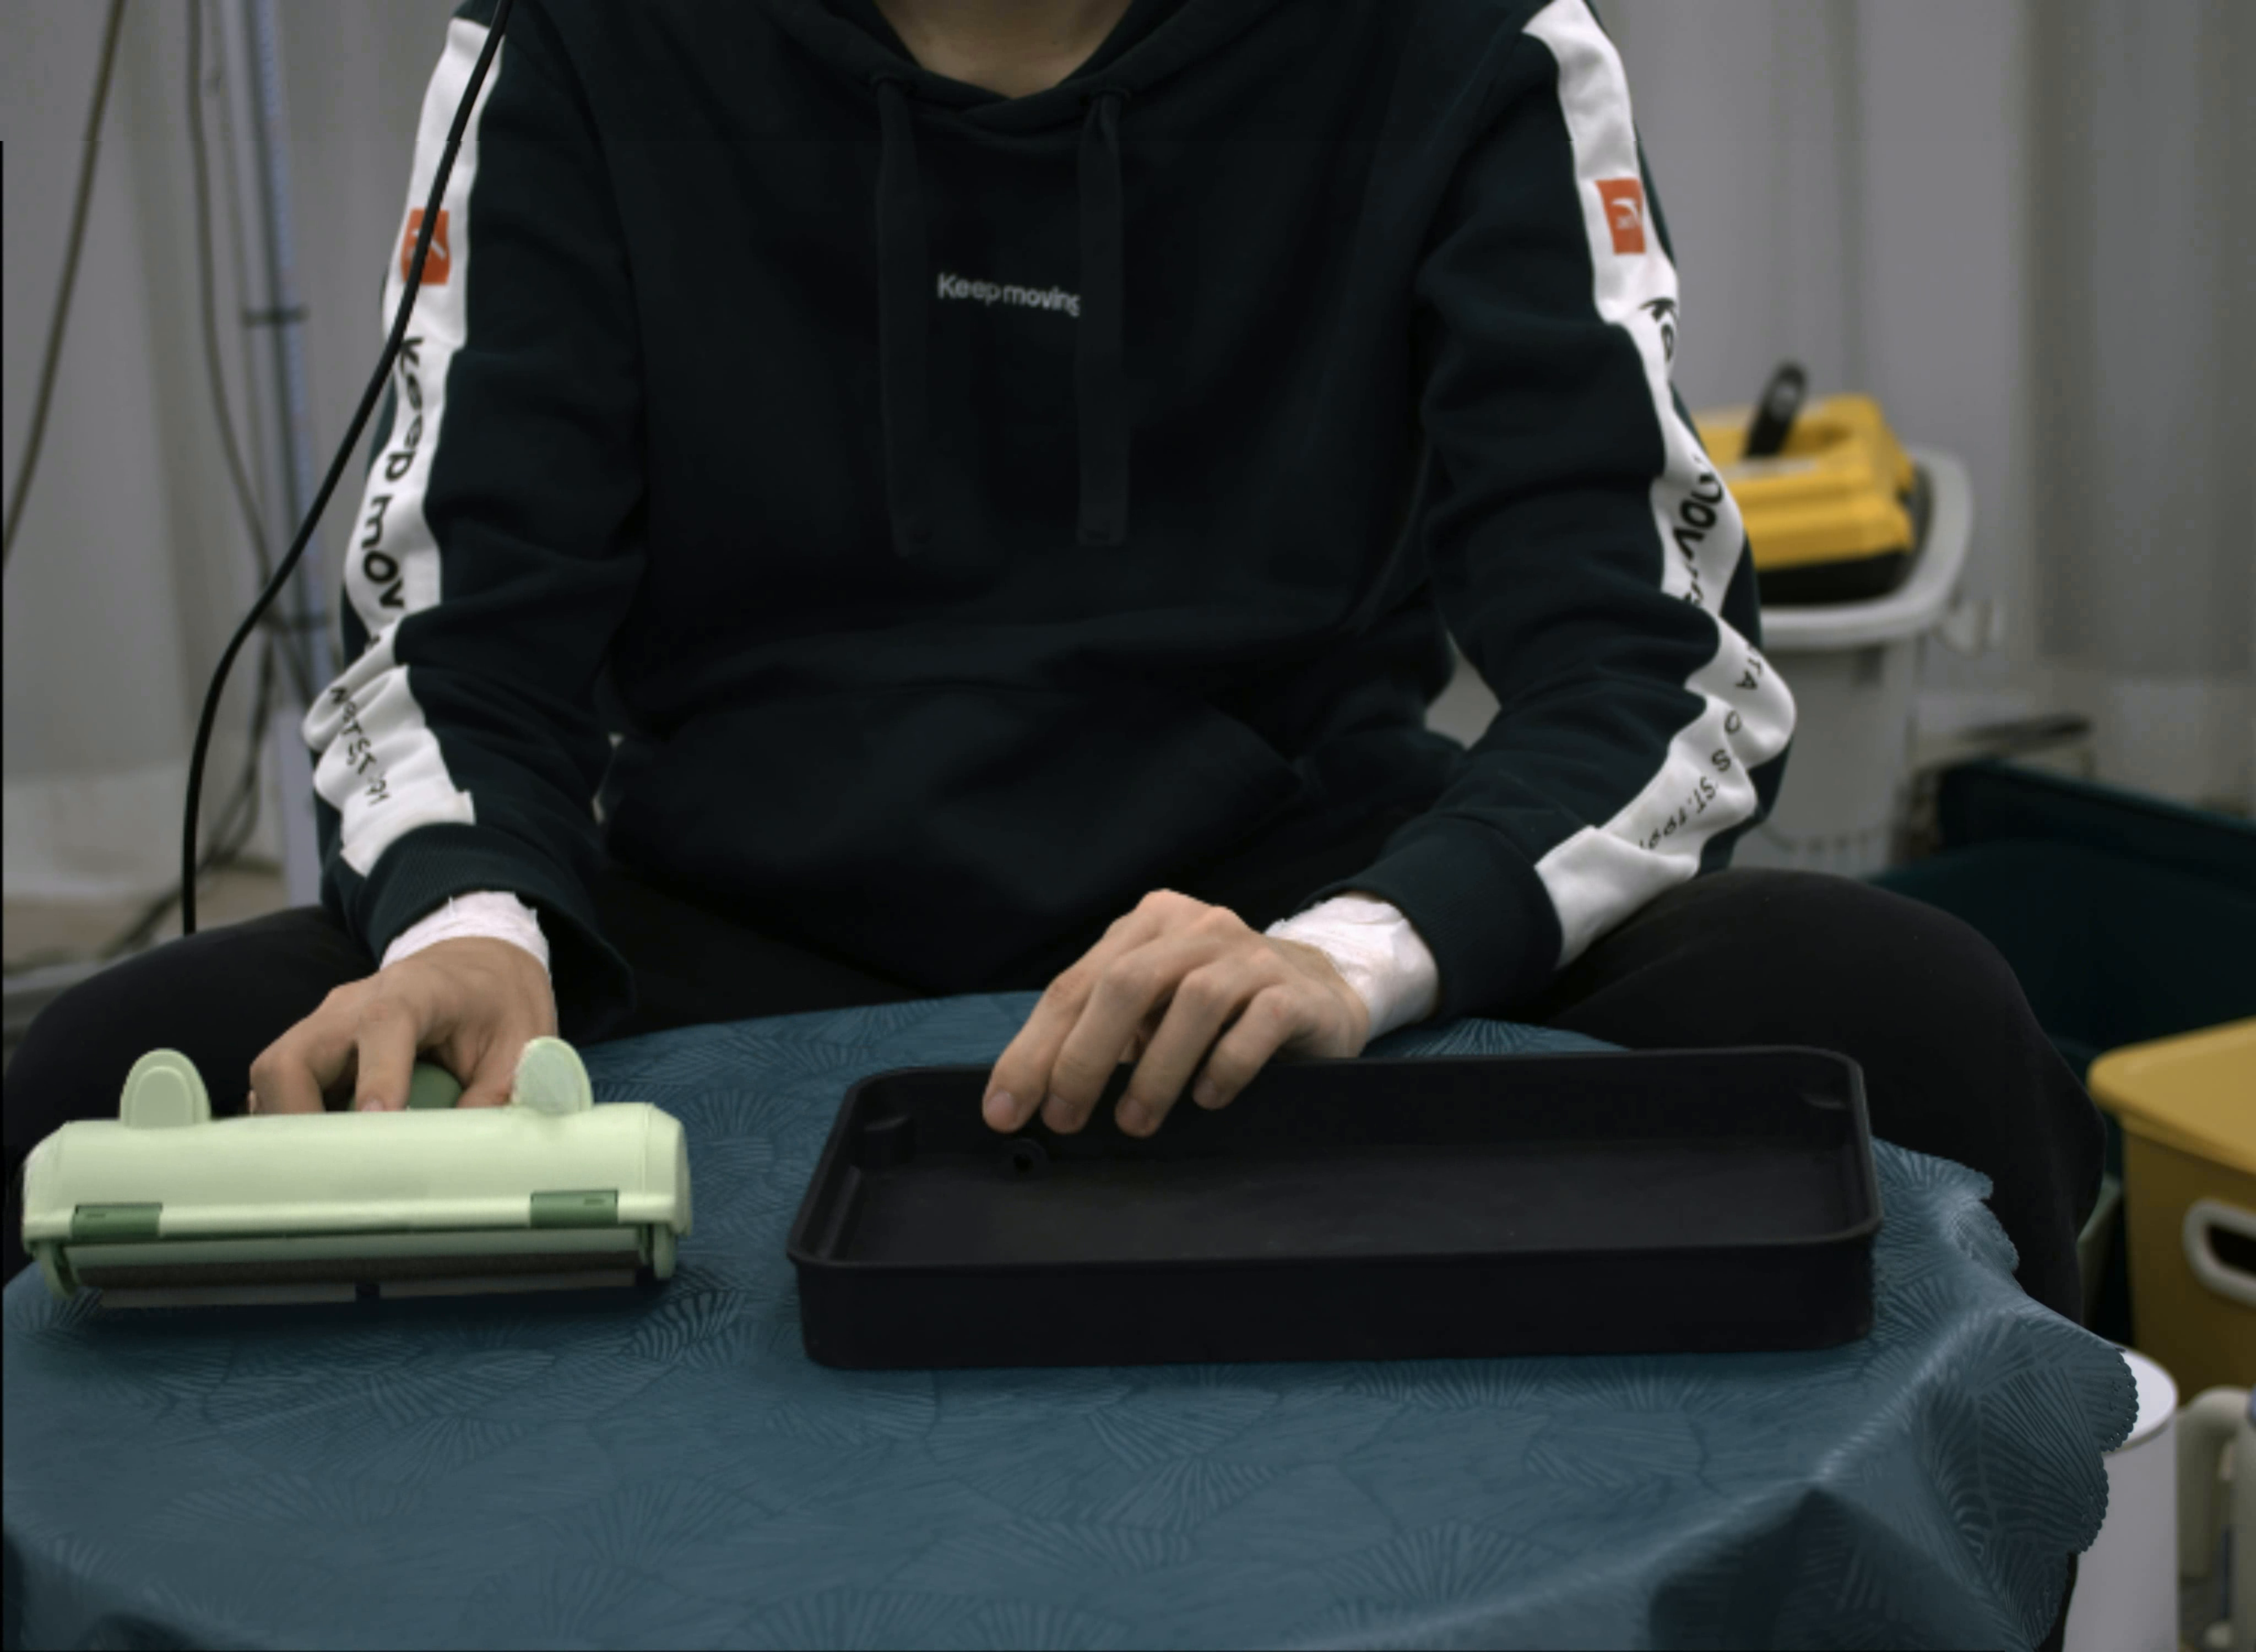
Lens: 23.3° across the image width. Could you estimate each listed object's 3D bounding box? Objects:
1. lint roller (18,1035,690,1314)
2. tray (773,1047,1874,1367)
[{"bbox_3d":[-0.232,0.087,1.696,0.198,0.081,0.185,-3,22,1],"label":"lint roller"},{"bbox_3d":[0.061,0.112,1.639,0.317,0.037,0.185,-1,15,6],"label":"tray"}]
